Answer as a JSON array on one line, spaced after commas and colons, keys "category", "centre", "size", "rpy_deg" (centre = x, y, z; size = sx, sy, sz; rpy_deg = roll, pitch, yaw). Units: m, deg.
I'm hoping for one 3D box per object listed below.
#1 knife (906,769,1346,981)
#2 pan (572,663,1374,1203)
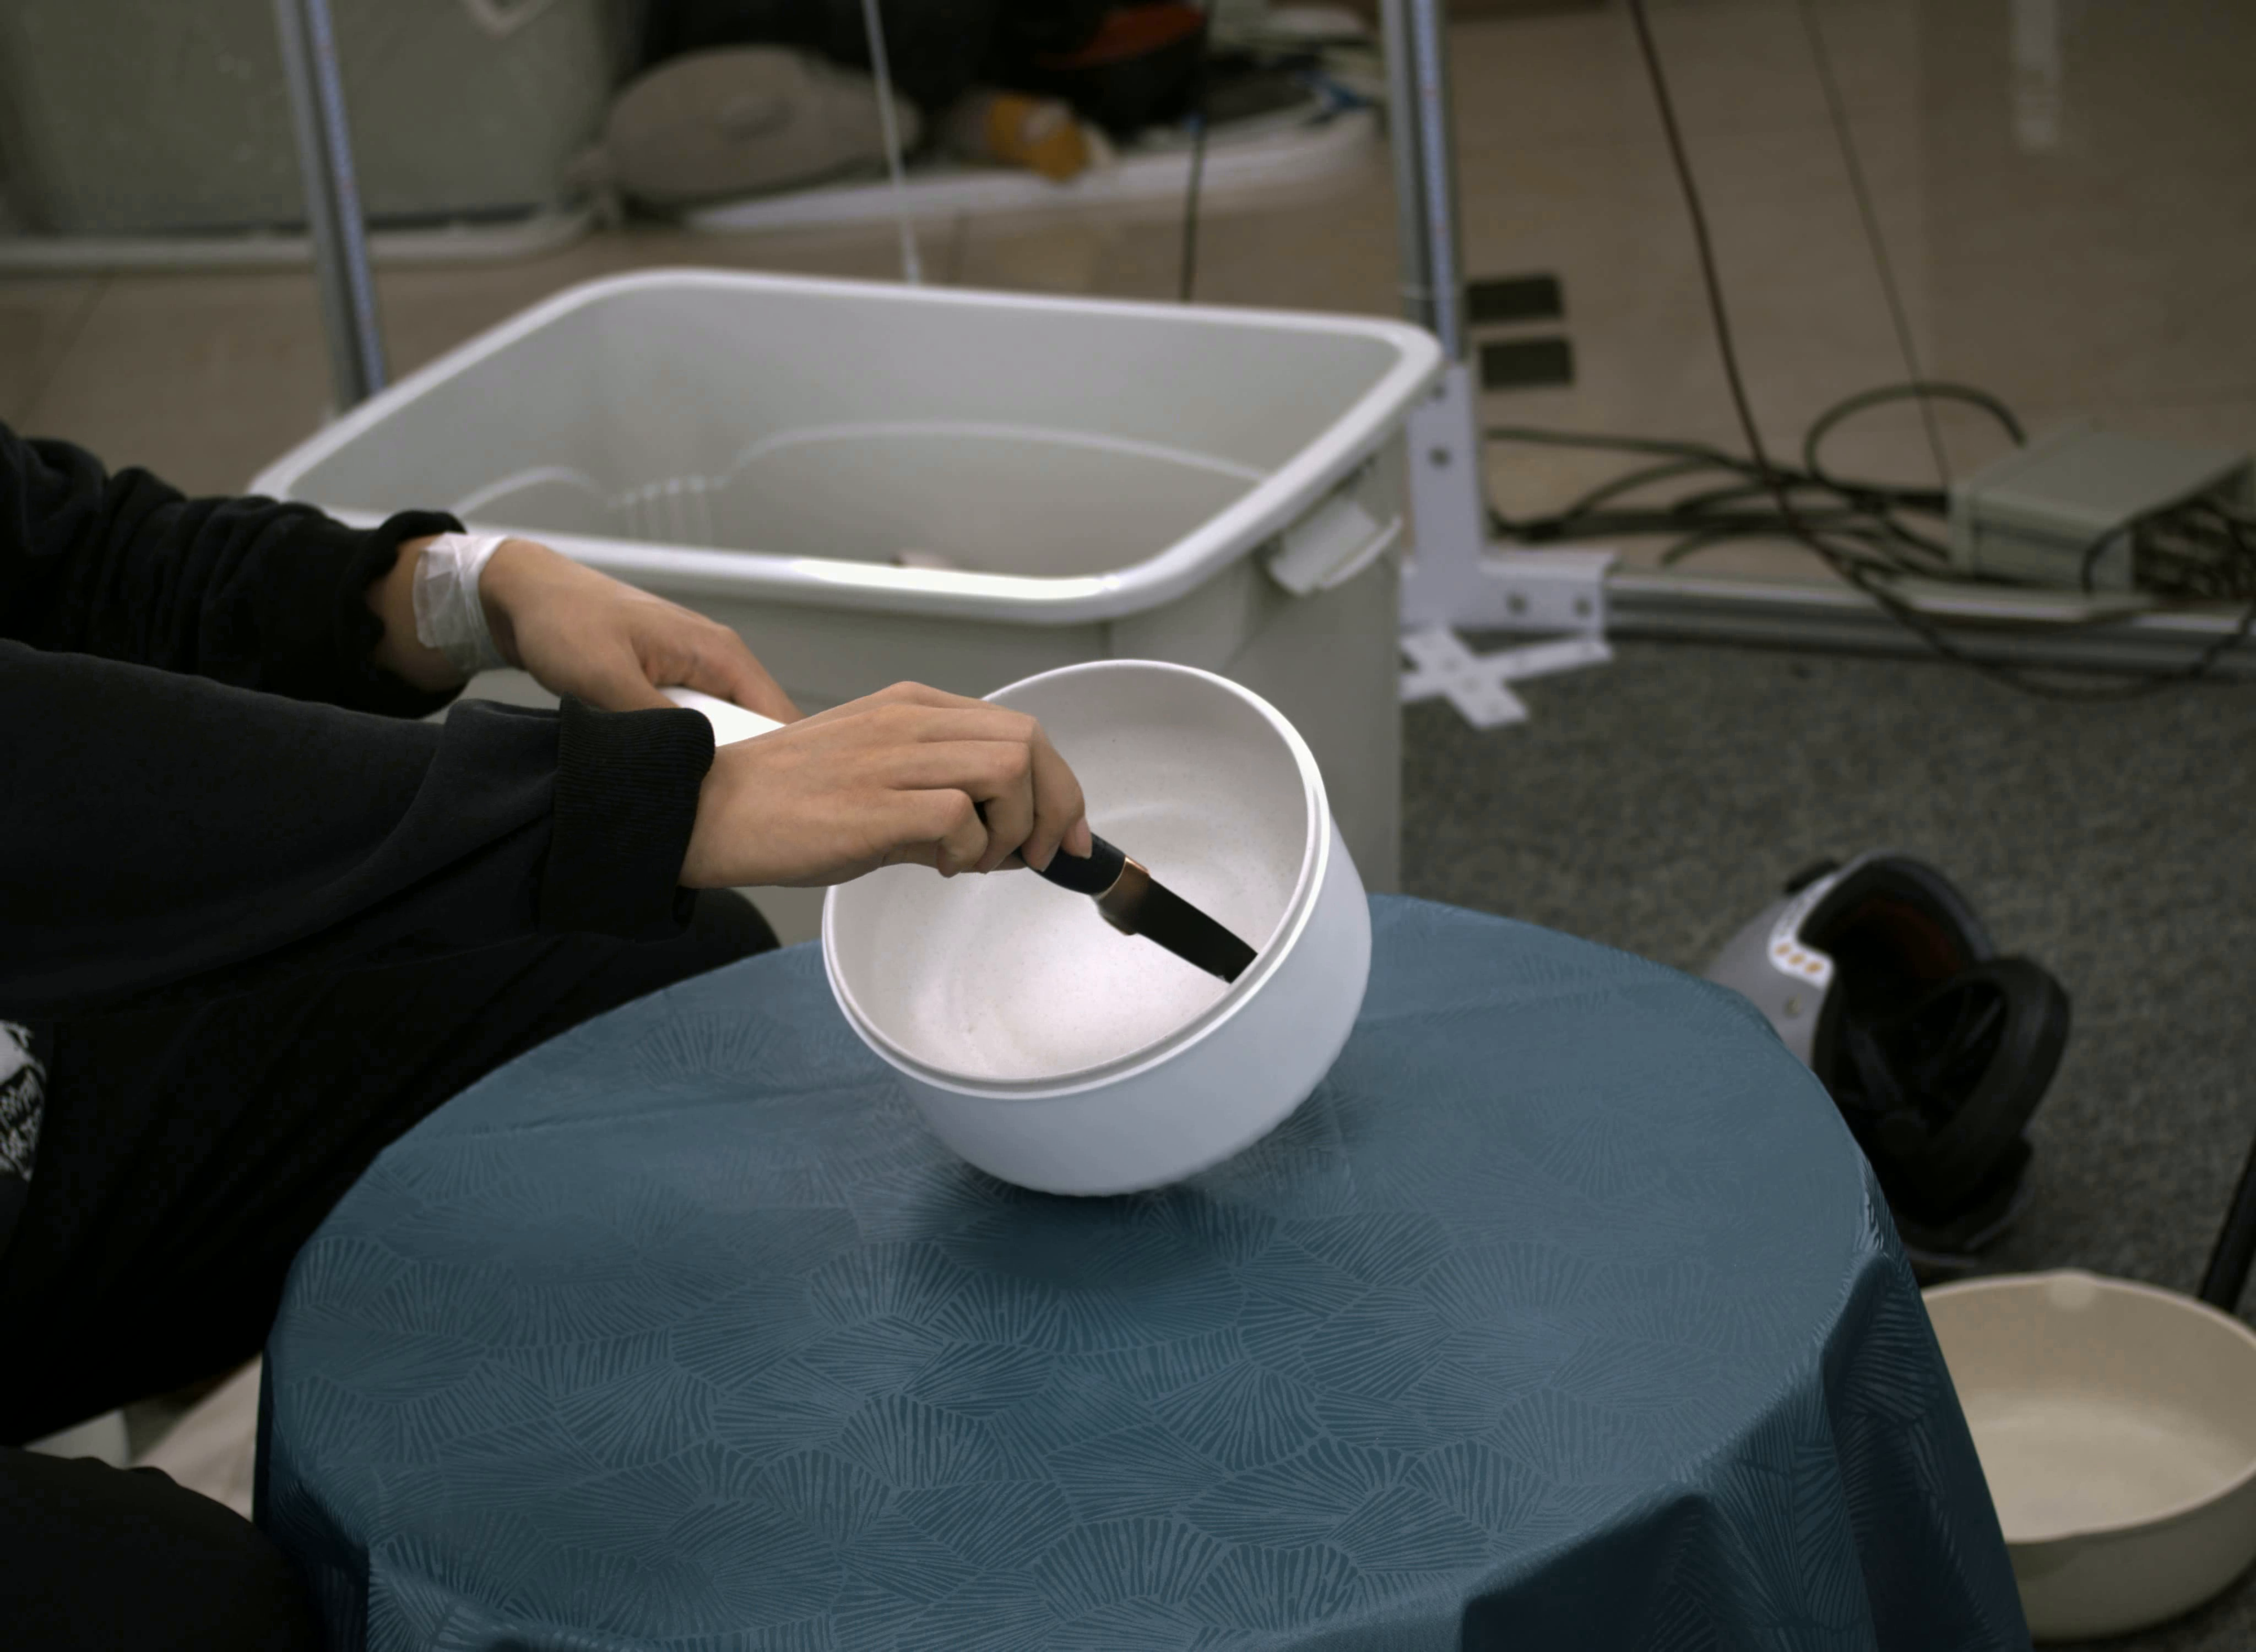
[{"category": "knife", "centre": [0.002, 0.021, 2.027], "size": [0.026, 0.017, 0.227], "rpy_deg": [9, -12, 45]}, {"category": "pan", "centre": [-0.065, 0.024, 2.208], "size": [0.352, 0.104, 0.199], "rpy_deg": [20, 67, 34]}]
